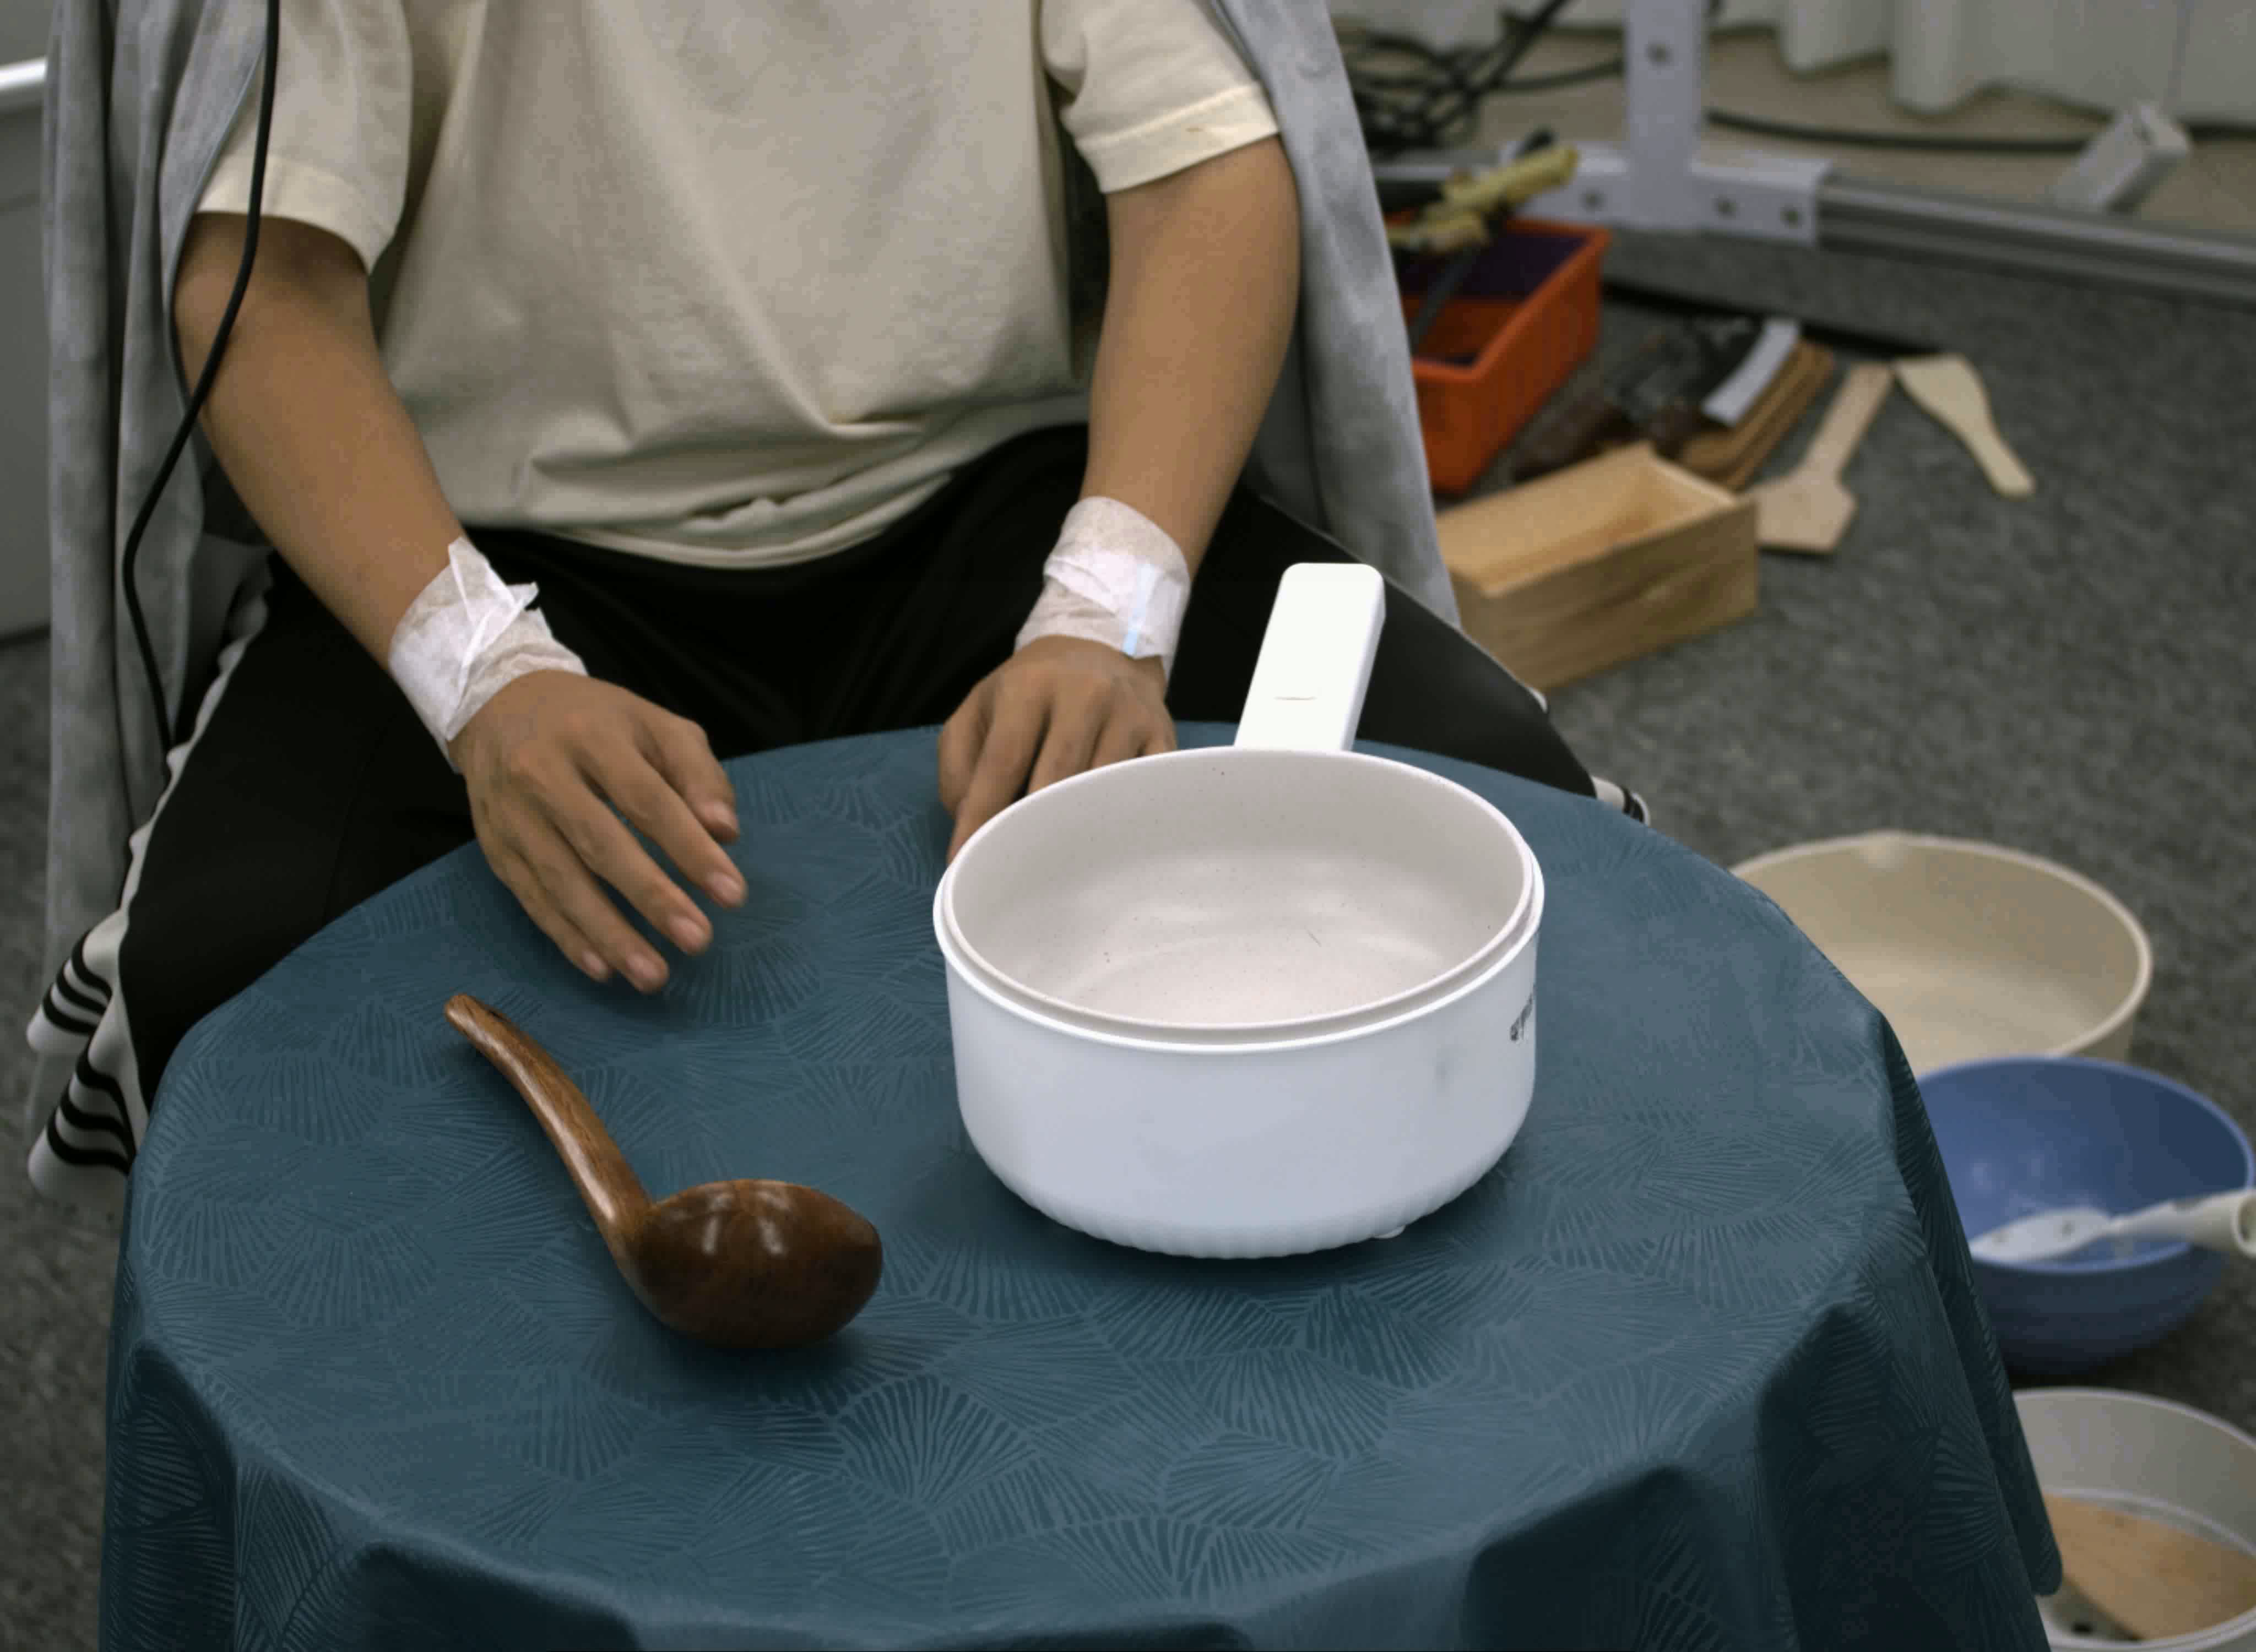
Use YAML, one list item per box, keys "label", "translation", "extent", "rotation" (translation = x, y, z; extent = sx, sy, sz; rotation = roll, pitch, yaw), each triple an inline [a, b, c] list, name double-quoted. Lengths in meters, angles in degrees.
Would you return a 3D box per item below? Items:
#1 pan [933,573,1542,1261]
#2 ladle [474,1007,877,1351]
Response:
- label: "pan"
  translation: [0.051, 0.028, 1.933]
  extent: [0.200, 0.101, 0.360]
  rotation: [0, 26, 10]
- label: "ladle"
  translation: [-0.158, 0.096, 1.852]
  extent: [0.076, 0.081, 0.276]
  rotation: [-50, 30, 5]
